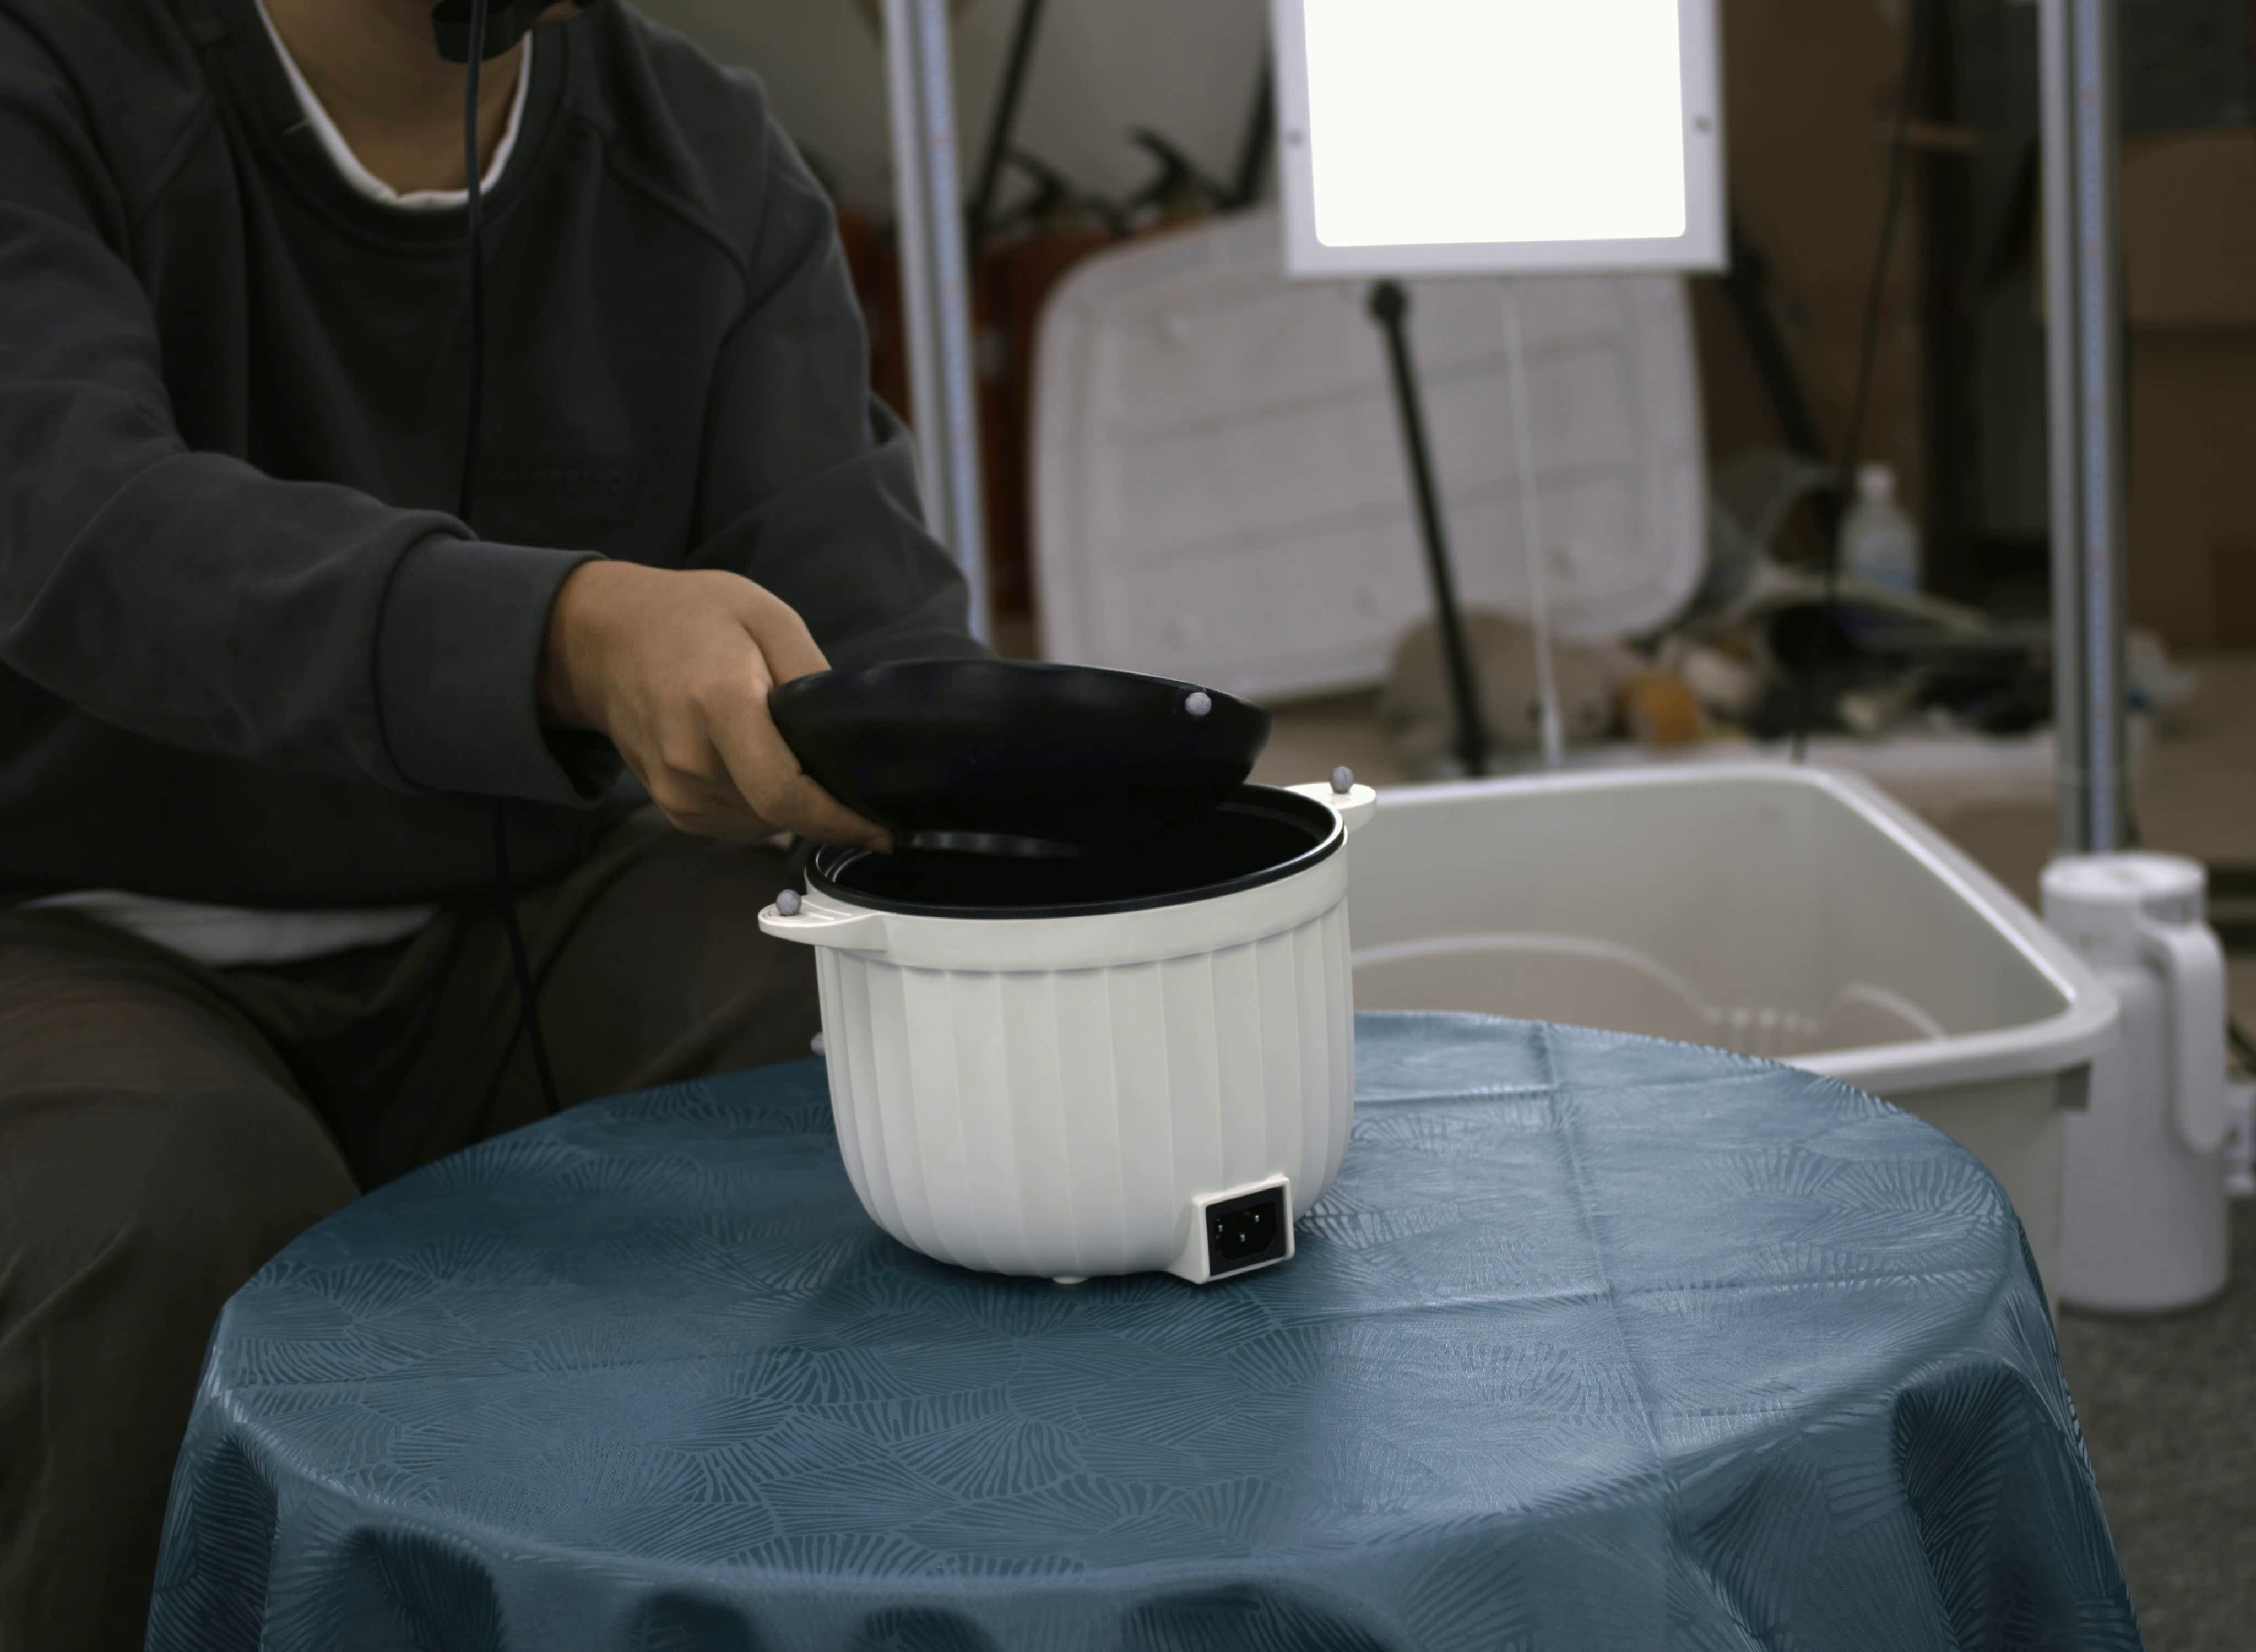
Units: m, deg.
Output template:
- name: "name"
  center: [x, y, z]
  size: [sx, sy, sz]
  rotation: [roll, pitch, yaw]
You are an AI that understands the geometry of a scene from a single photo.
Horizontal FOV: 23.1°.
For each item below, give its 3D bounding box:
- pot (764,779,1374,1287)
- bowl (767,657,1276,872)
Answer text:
- name: "pot"
  center: [-0.017, 0.068, 1.851]
  size: [0.235, 0.143, 0.194]
  rotation: [-12, 18, -32]
- name: "bowl"
  center: [-0.037, -0.019, 1.826]
  size: [0.170, 0.067, 0.137]
  rotation: [5, -4, 1]
